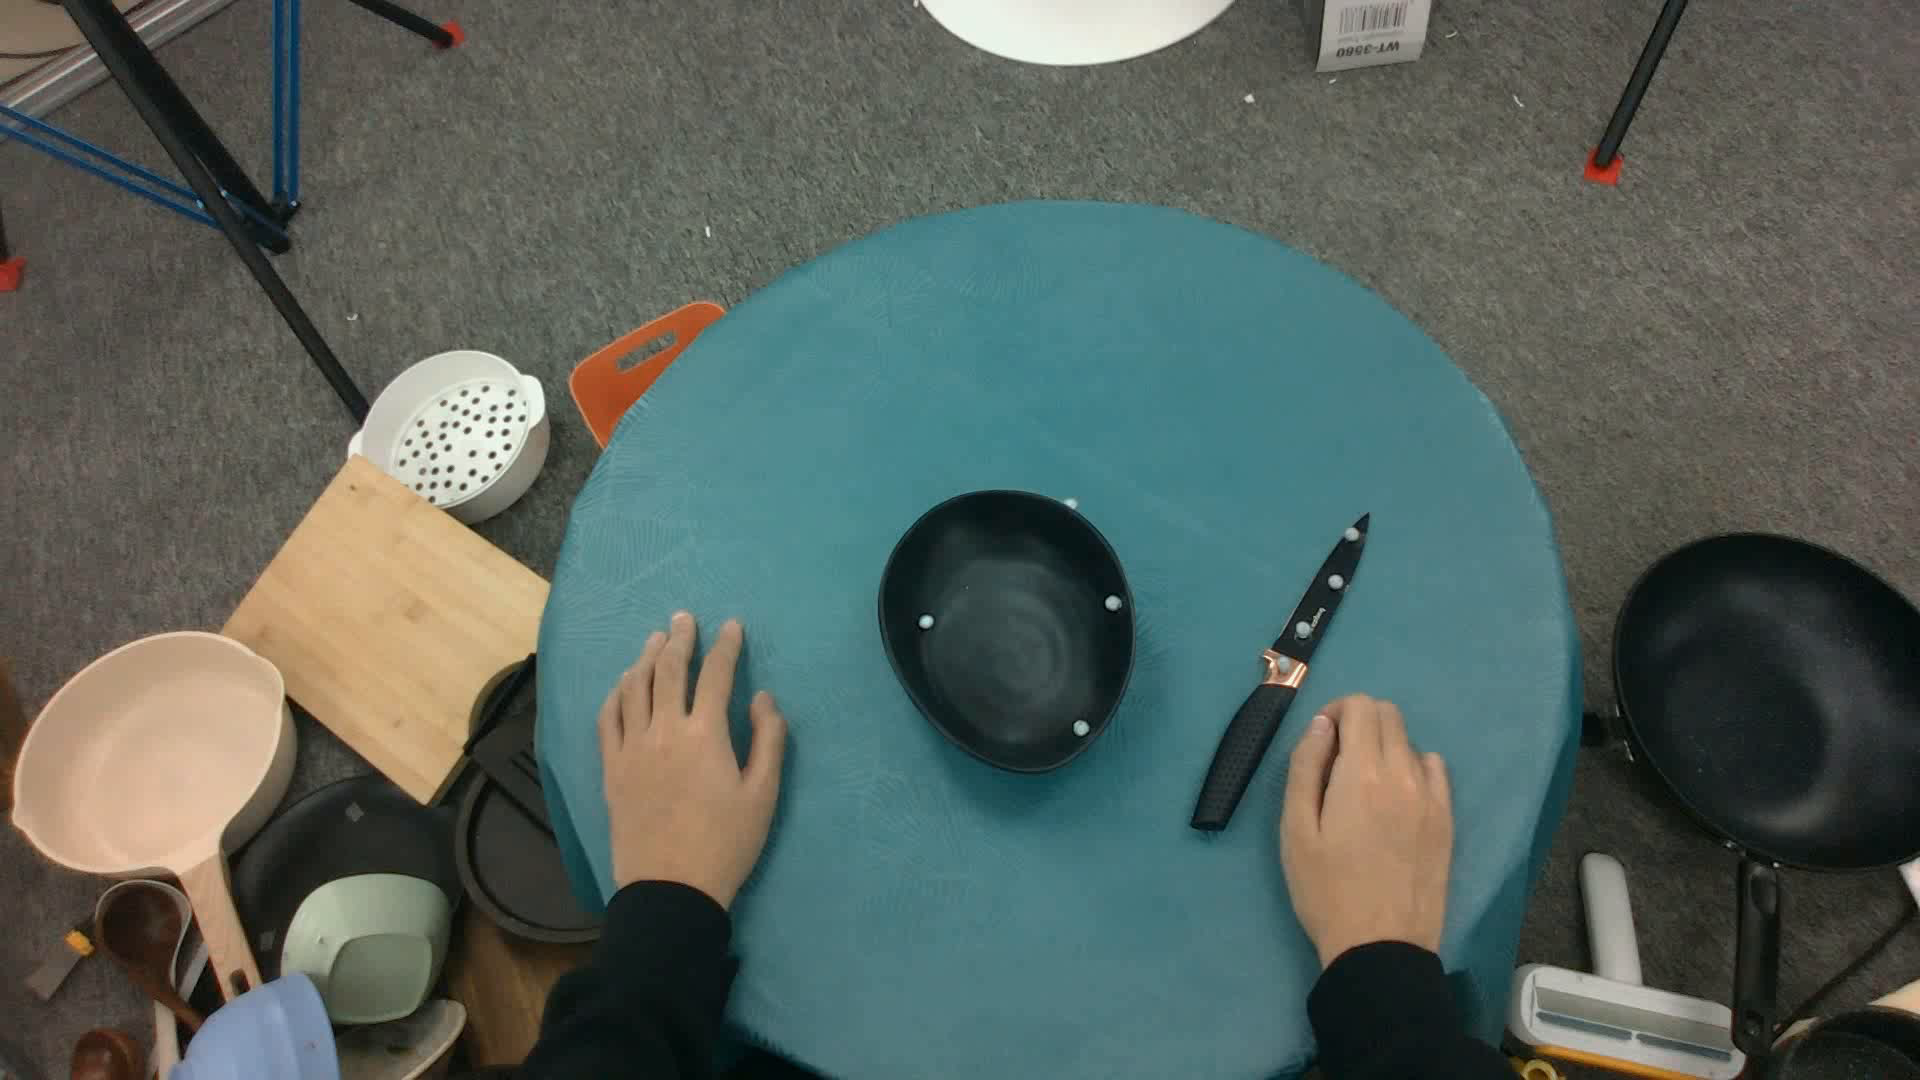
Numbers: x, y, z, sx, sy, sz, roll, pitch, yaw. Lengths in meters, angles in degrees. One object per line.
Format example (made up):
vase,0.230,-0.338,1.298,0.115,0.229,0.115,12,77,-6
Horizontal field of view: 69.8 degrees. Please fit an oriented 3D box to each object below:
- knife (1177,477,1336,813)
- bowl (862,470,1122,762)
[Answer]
knife,0.174,0.054,0.773,0.026,0.017,0.226,25,65,14
bowl,0.020,0.045,0.762,0.137,0.066,0.171,-17,63,-4
